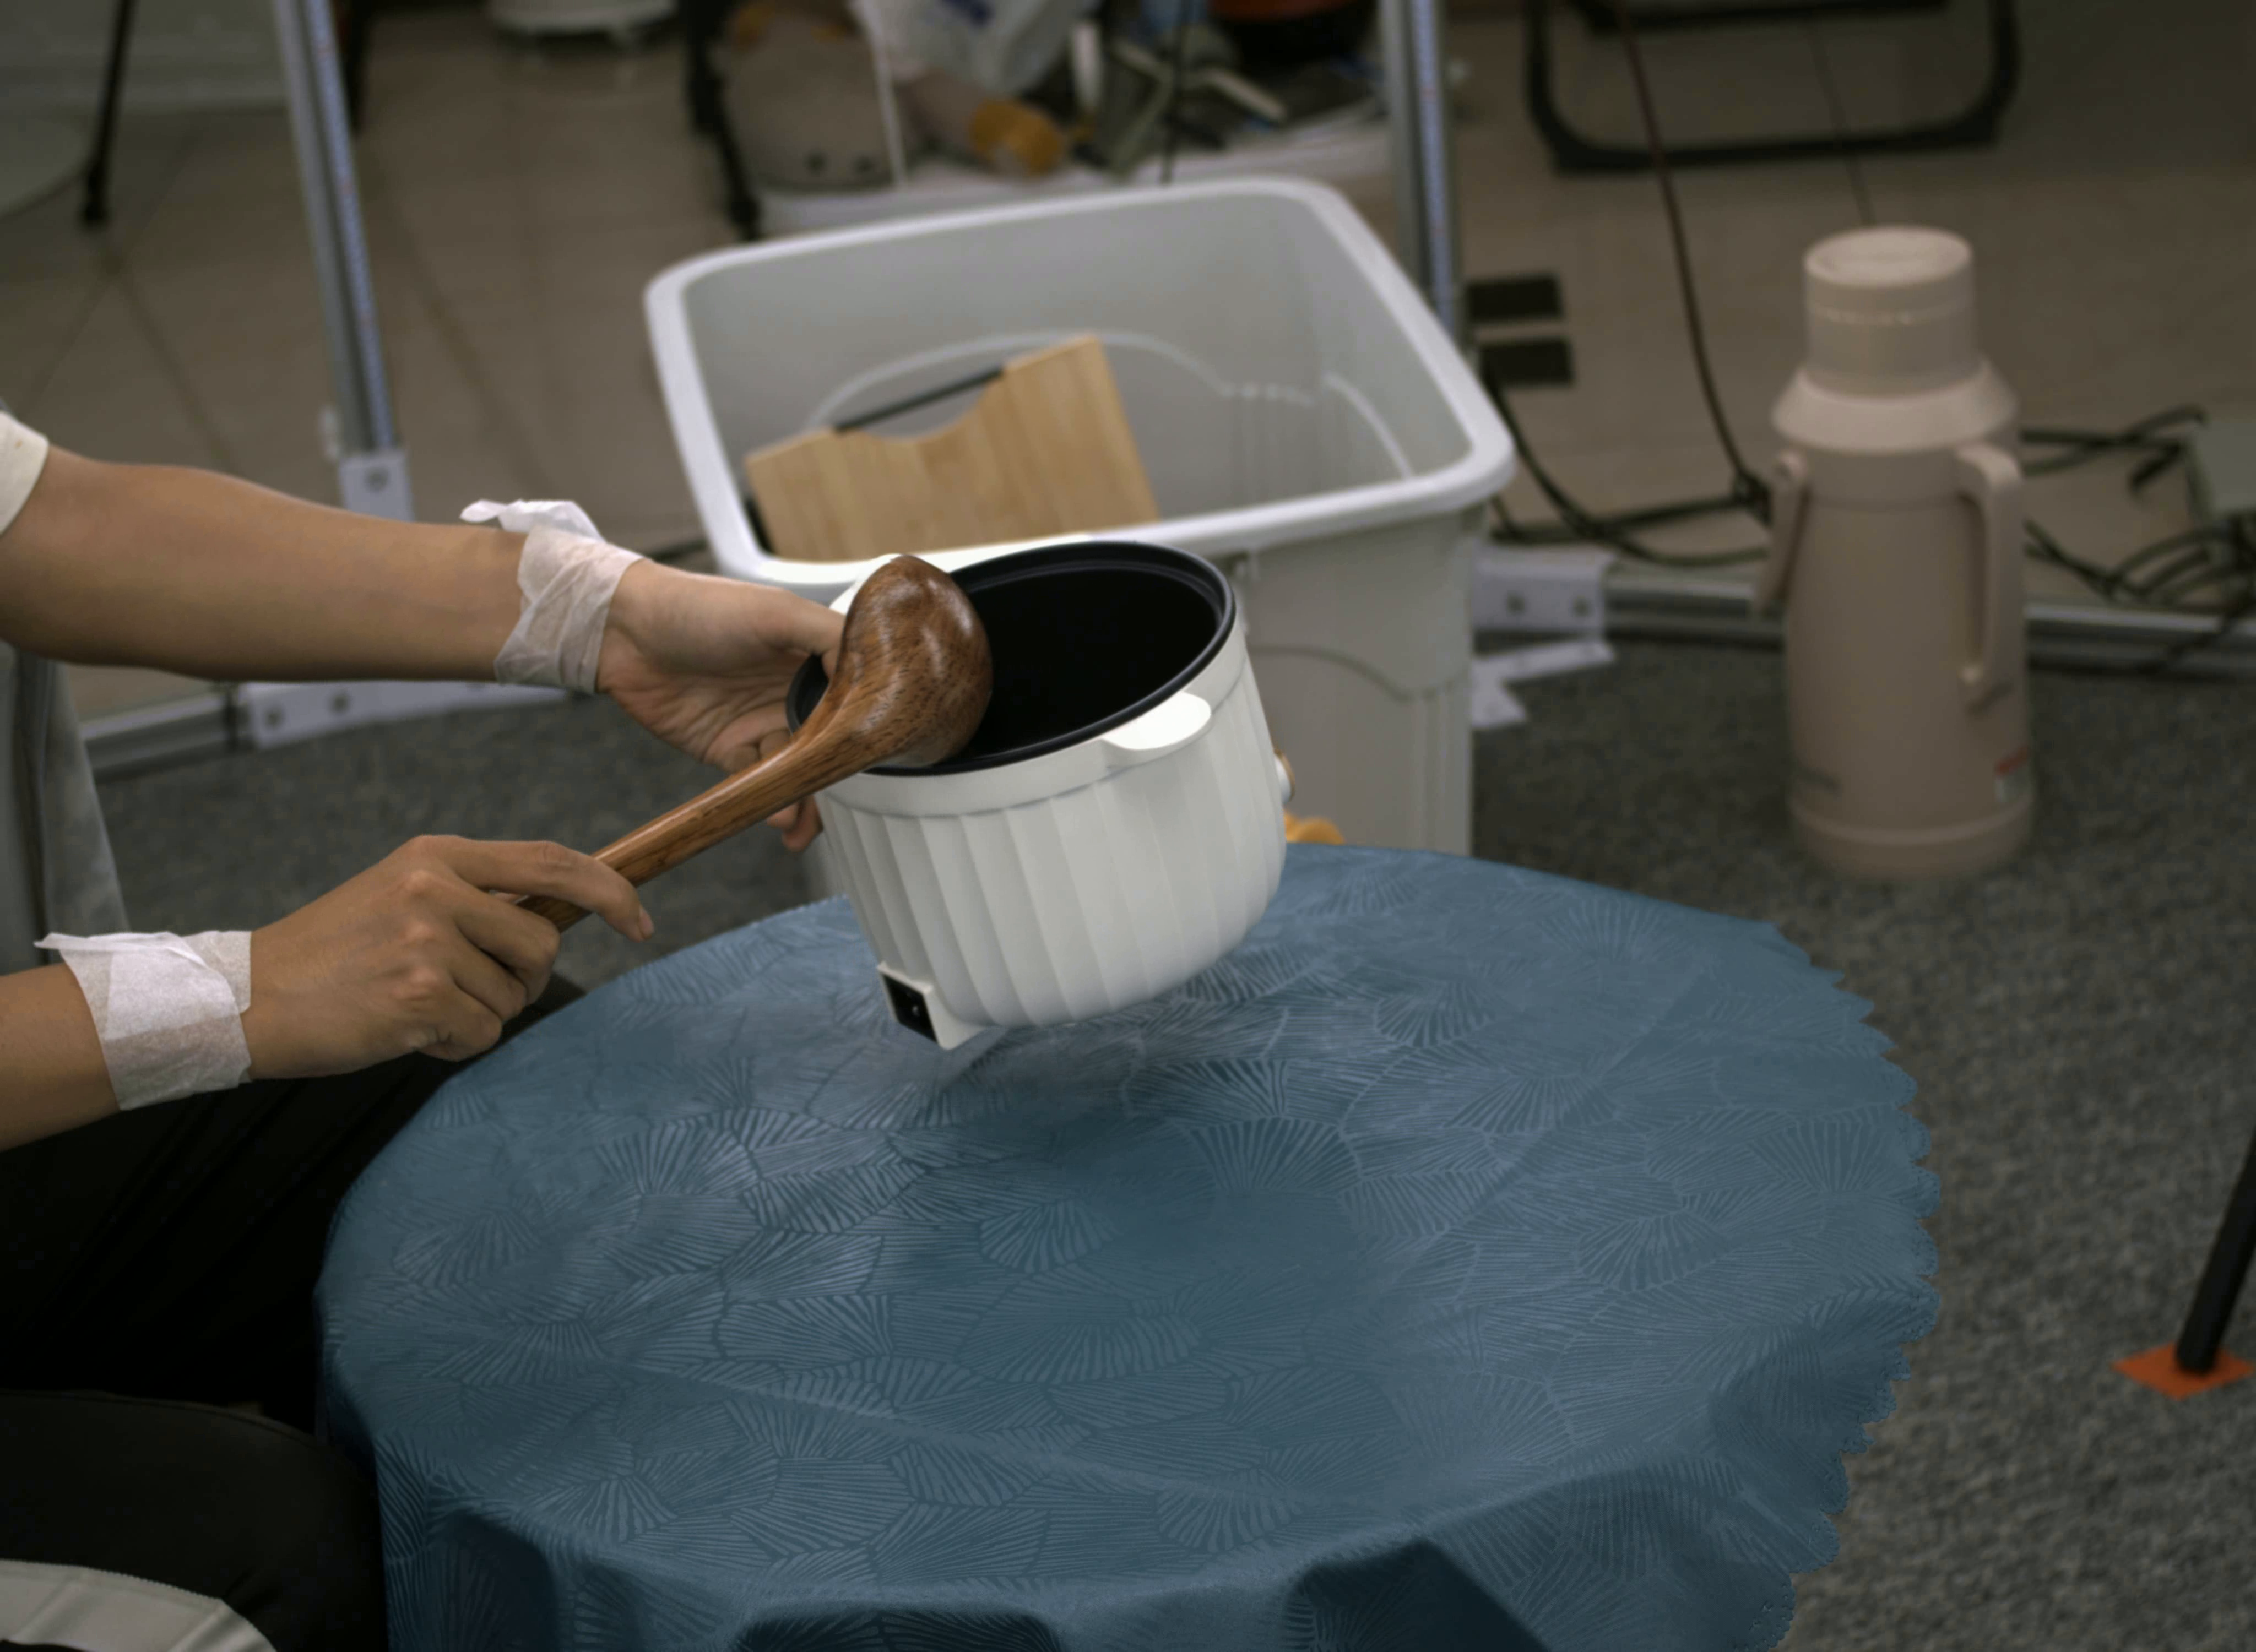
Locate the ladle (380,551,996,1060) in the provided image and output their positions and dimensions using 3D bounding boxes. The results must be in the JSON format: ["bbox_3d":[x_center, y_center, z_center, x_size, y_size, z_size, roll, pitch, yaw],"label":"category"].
[{"bbox_3d":[-0.167,-0.008,2.100,0.273,0.083,0.076,-33,23,-7],"label":"ladle"}]

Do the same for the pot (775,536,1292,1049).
[{"bbox_3d":[-0.027,-0.015,2.230,0.189,0.145,0.238,-34,34,-23],"label":"pot"}]
